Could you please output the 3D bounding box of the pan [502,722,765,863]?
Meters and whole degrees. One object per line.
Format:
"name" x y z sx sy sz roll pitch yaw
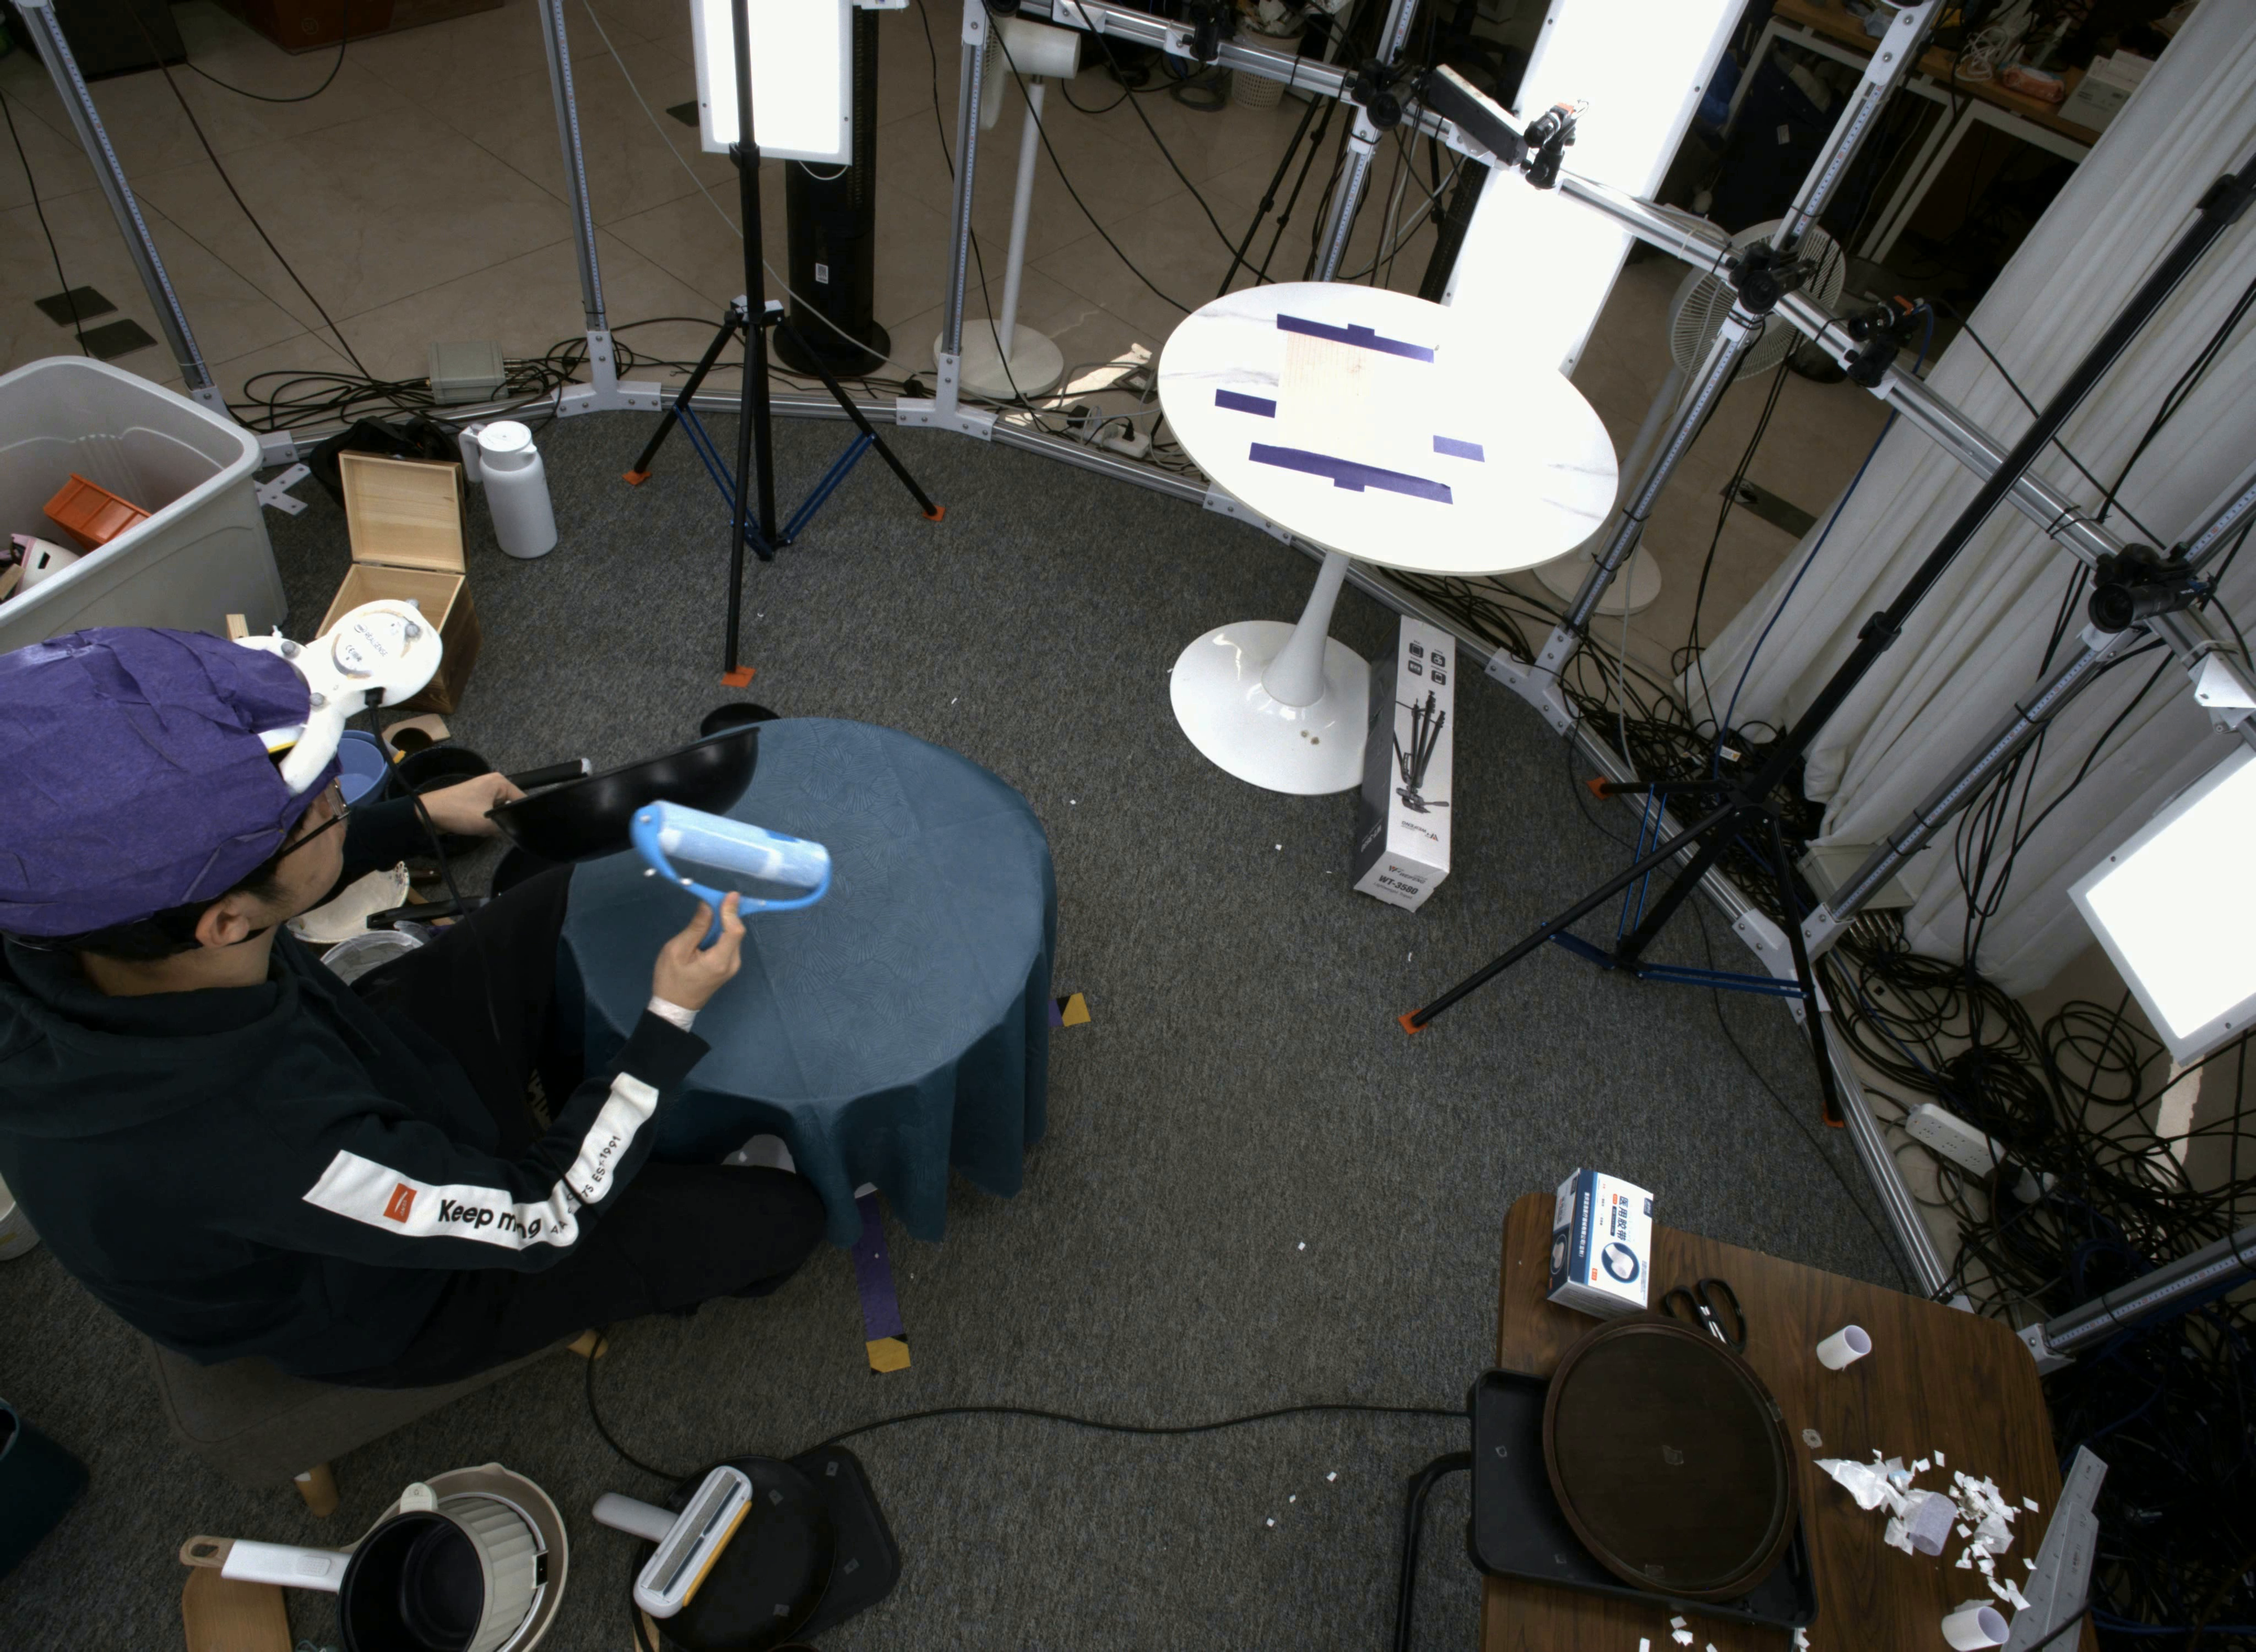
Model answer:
"pan" -0.619 -0.018 1.444 0.468 0.311 0.113 -16 96 16

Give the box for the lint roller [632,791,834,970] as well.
"lint roller" -0.421 0.071 1.334 0.235 0.182 0.065 15 6 -46
